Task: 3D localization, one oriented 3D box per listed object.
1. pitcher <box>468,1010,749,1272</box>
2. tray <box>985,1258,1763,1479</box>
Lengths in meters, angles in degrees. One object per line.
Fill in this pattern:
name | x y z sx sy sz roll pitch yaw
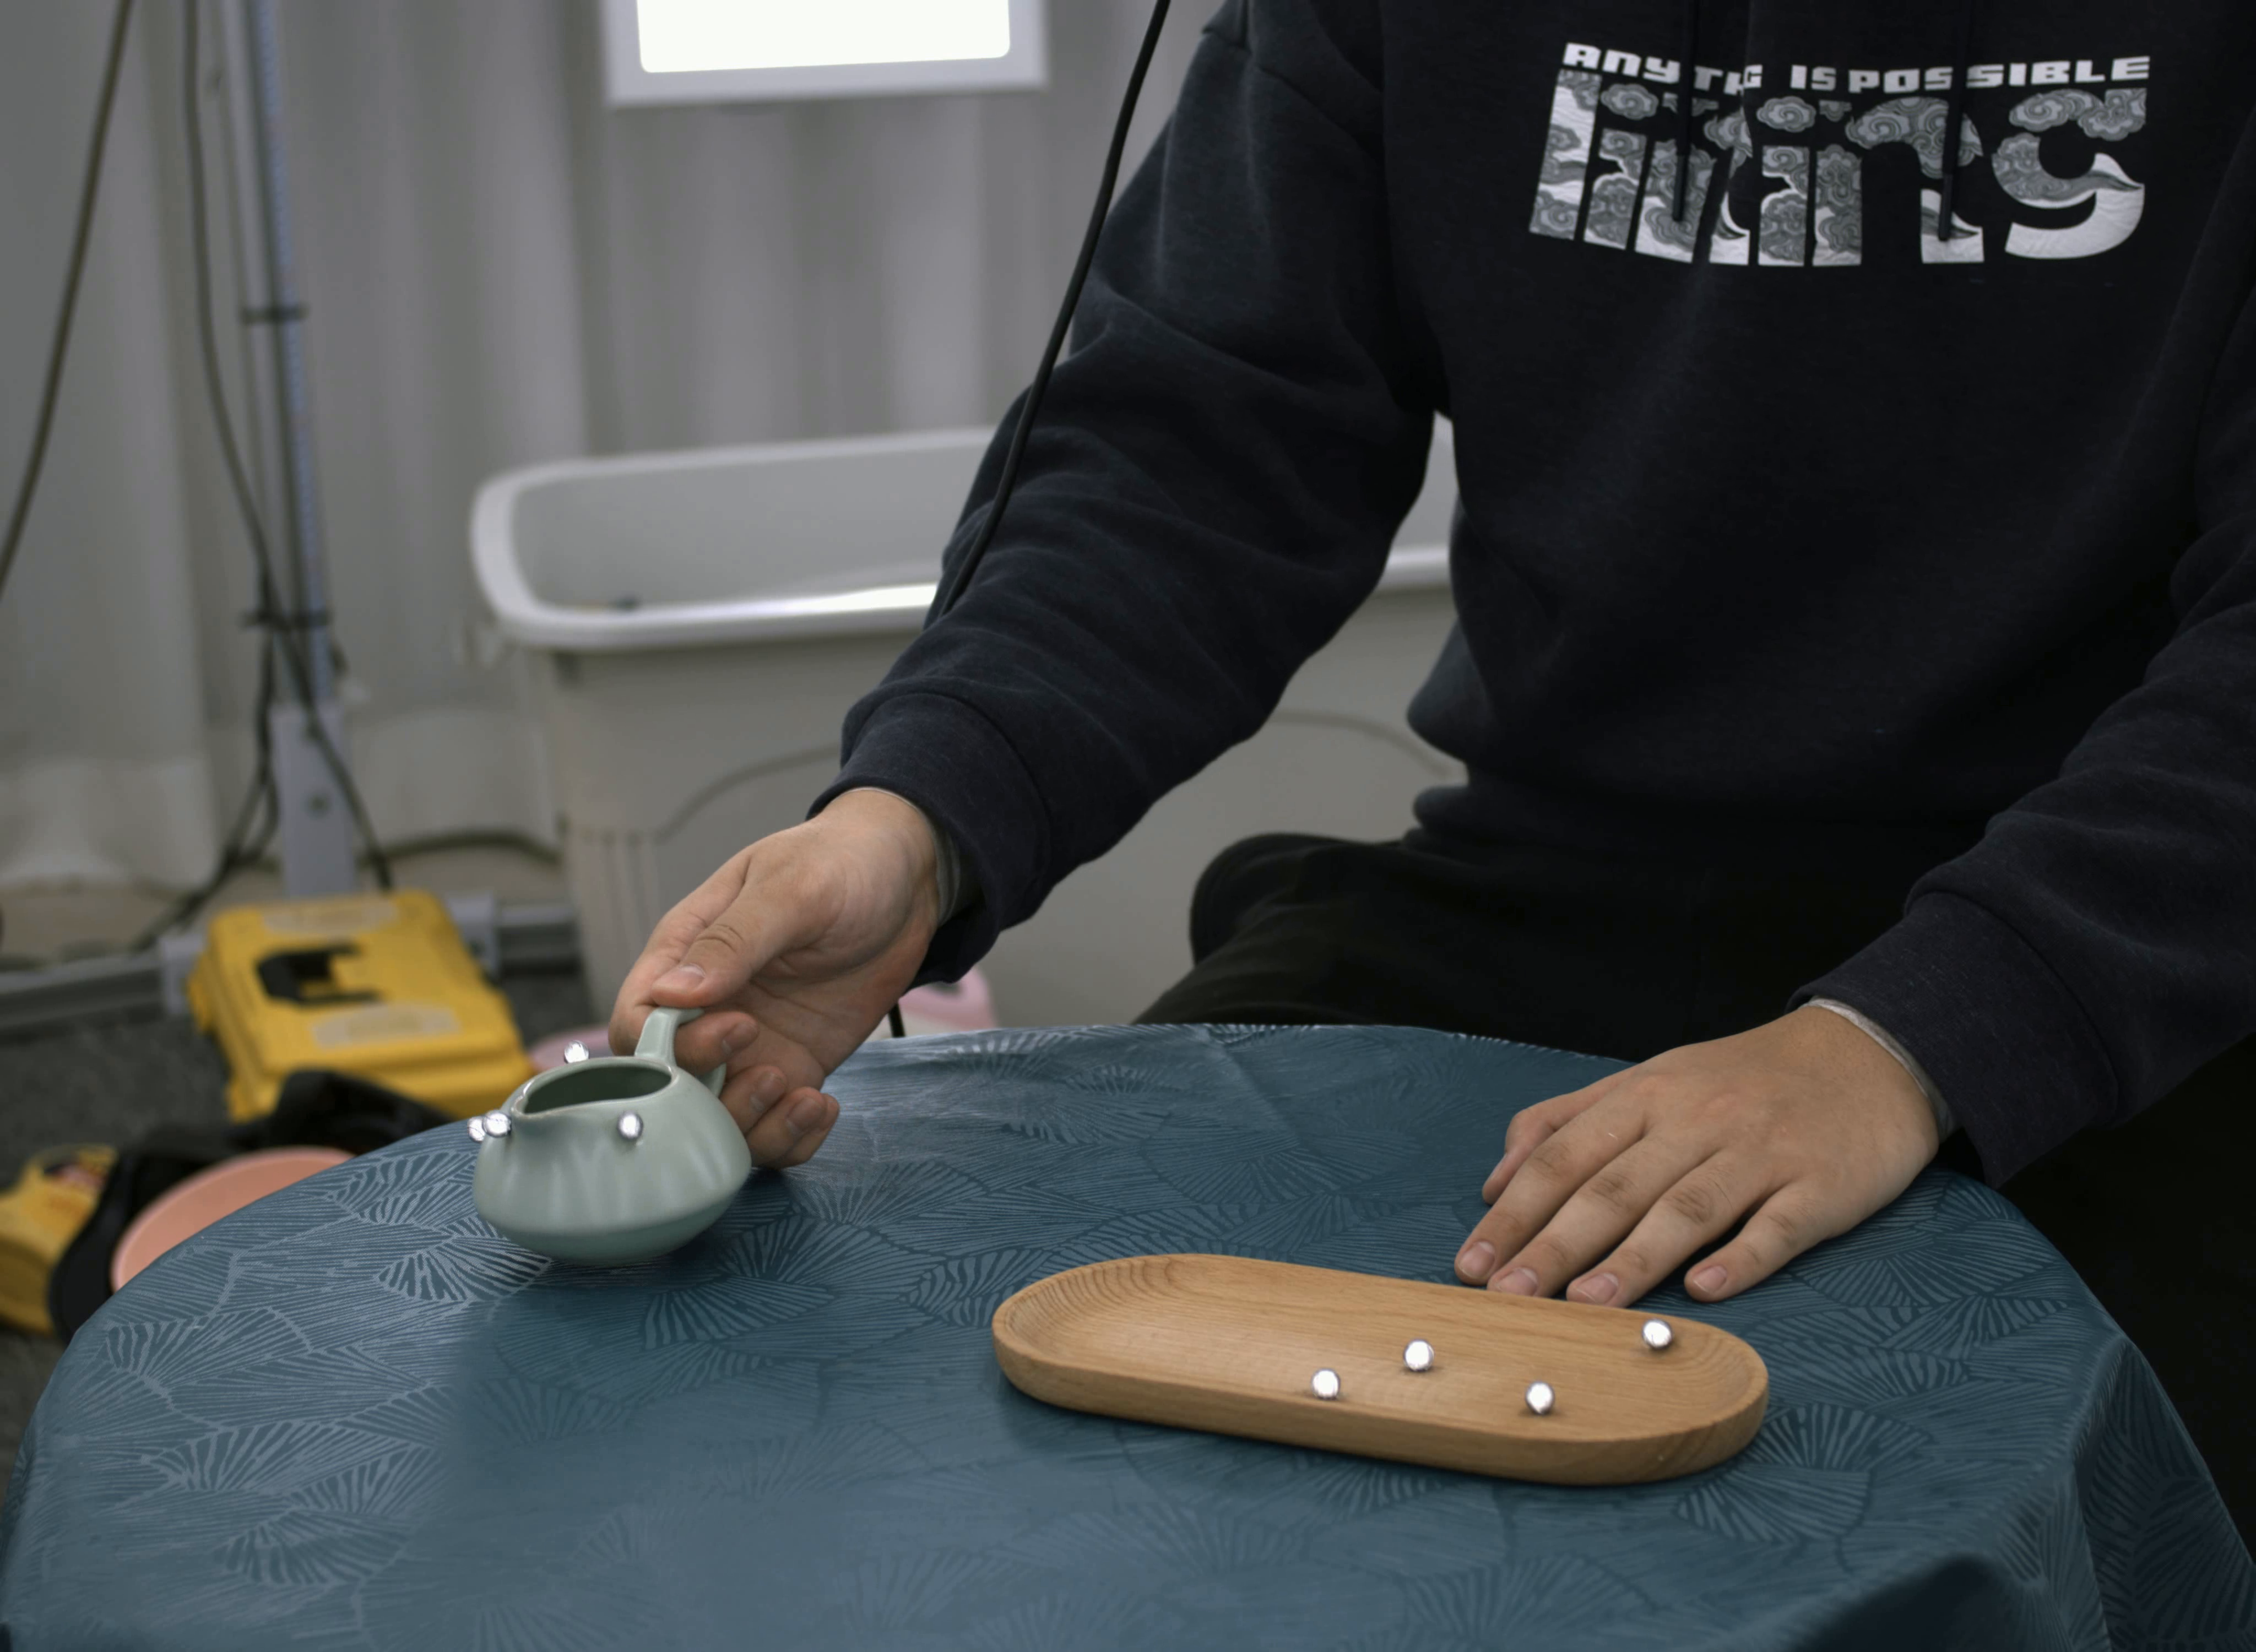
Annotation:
pitcher | -0.155 0.098 1.683 0.086 0.060 0.108 4 18 24
tray | 0.067 0.152 1.536 0.231 0.020 0.102 3 14 28
